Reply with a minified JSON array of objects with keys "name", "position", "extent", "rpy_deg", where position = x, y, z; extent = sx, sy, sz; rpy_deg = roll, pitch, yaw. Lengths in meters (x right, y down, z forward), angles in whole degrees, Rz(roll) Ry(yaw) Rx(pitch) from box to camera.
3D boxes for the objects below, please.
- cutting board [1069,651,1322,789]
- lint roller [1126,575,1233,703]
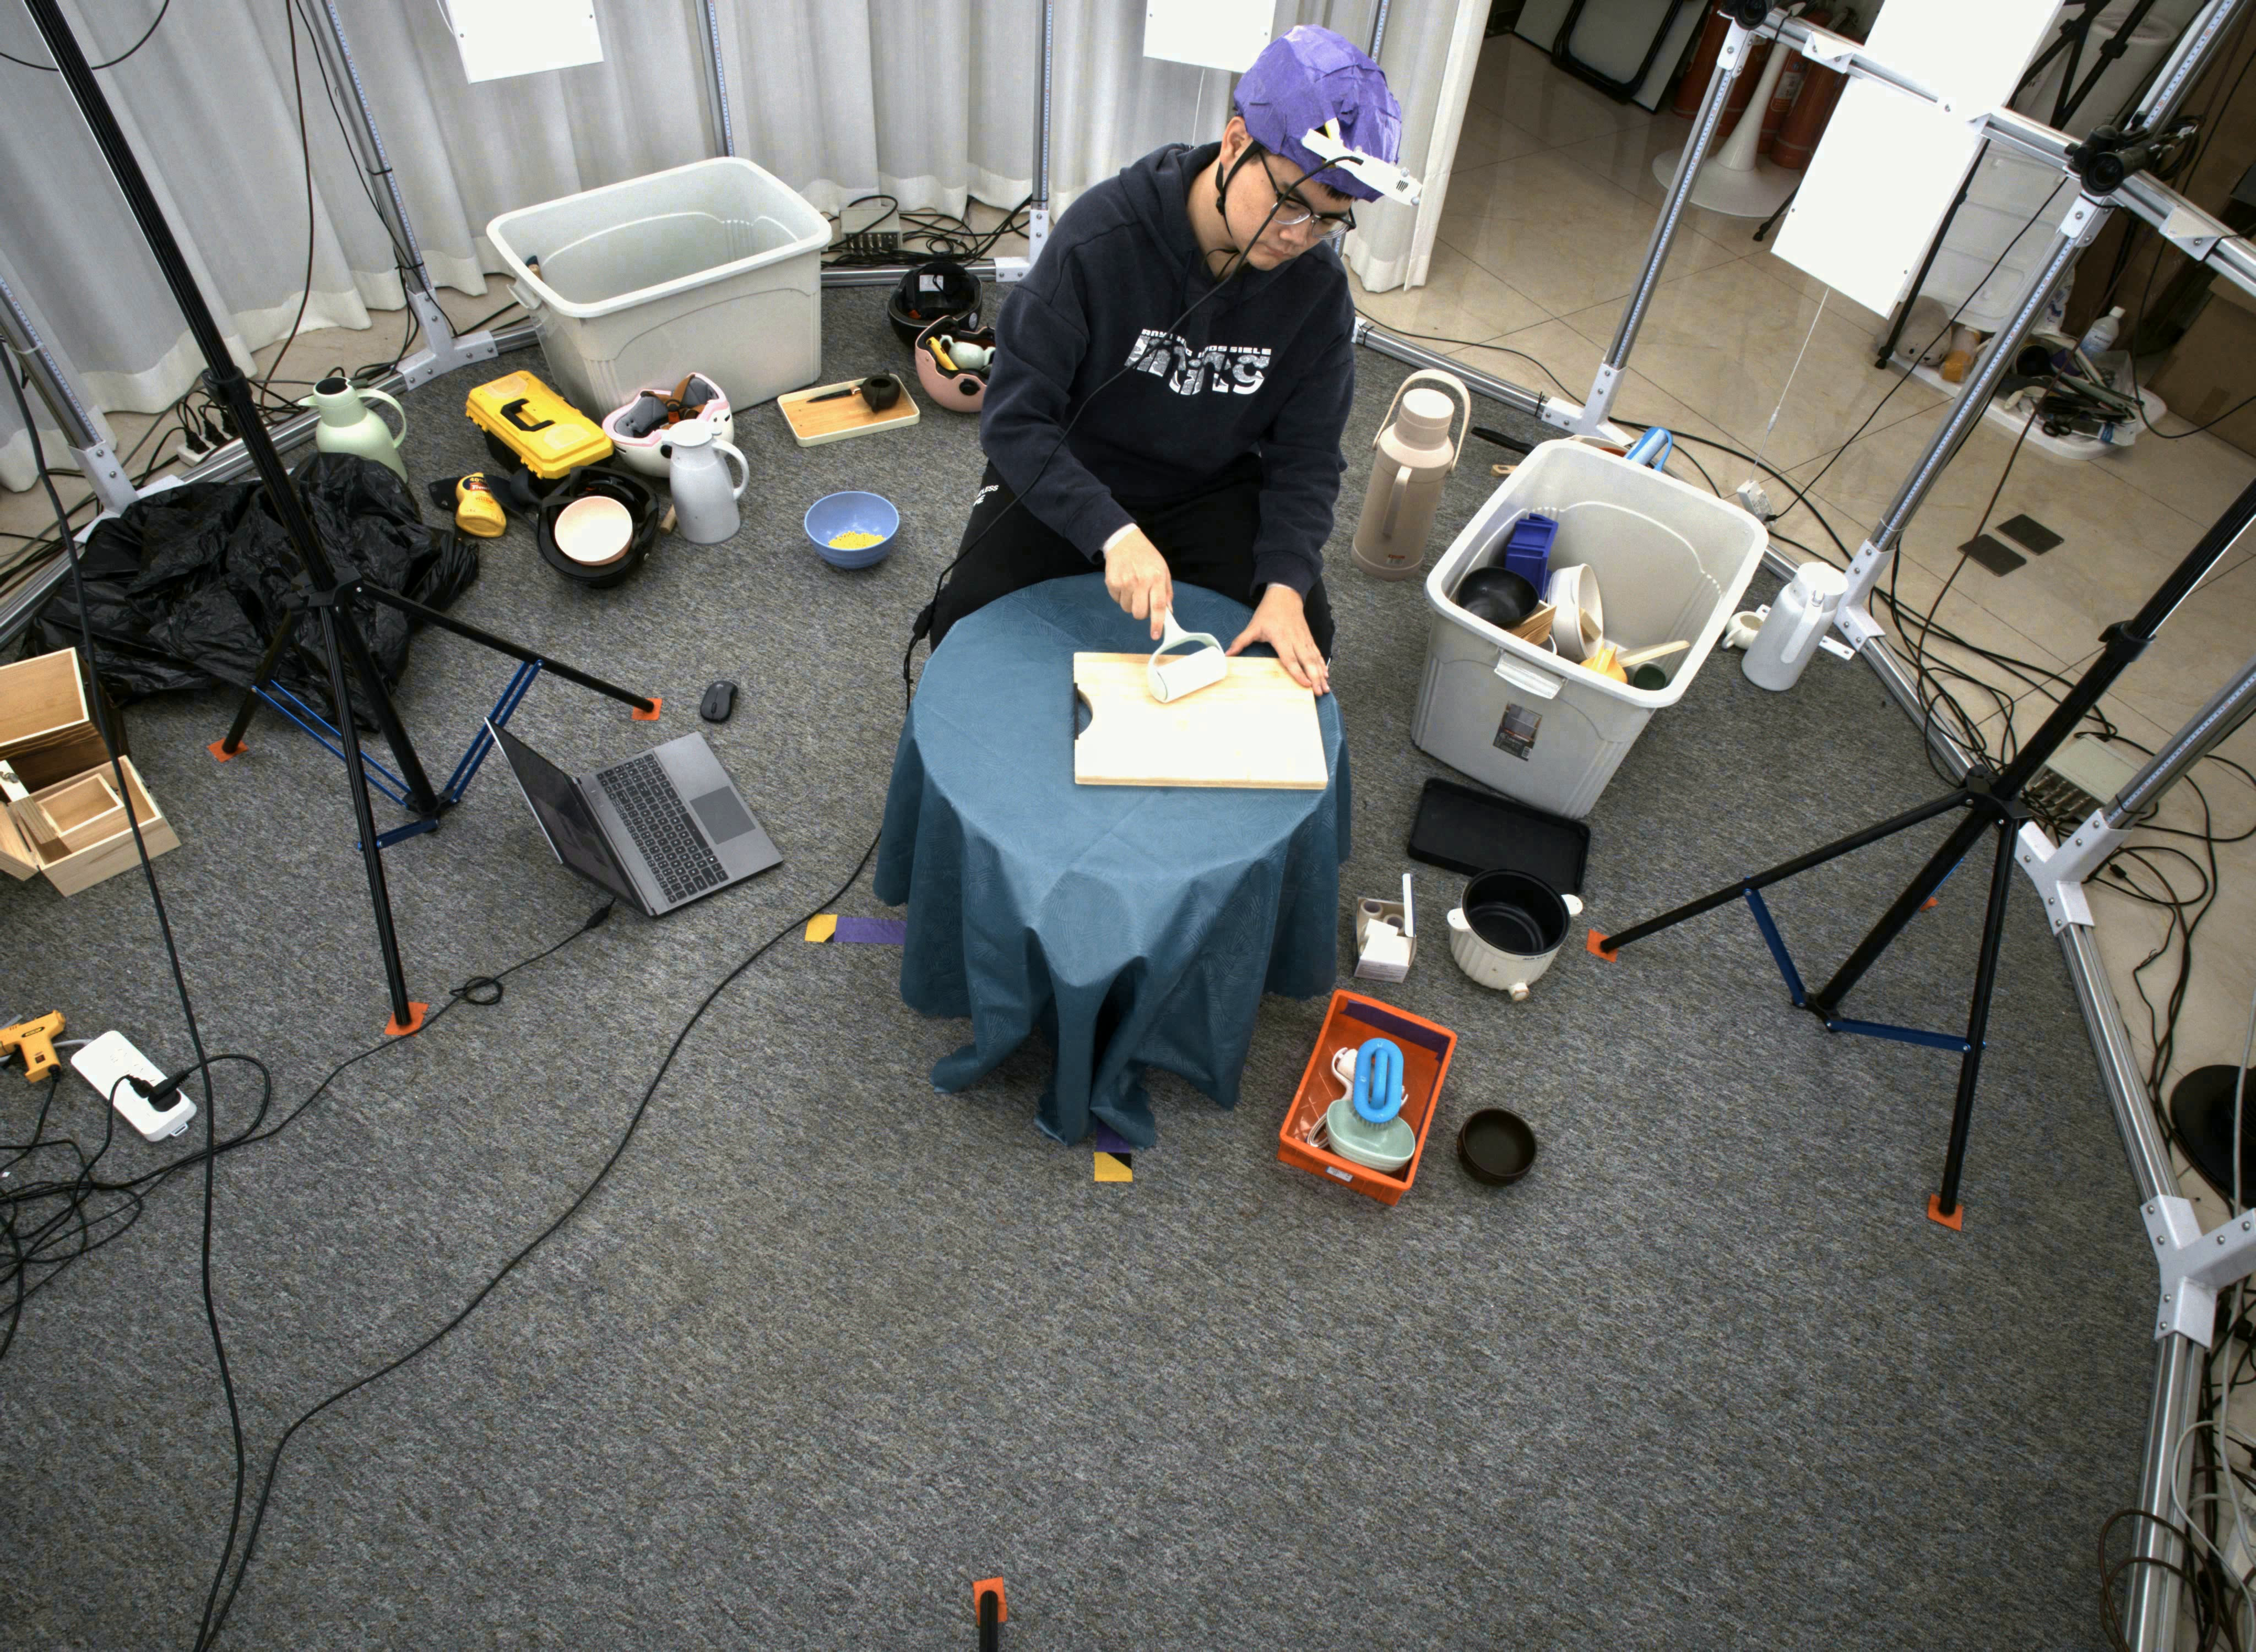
[{"name":"cutting board","position":[0.090,-0.151,1.793],"extent":[0.348,0.023,0.257],"rpy_deg":[1,48,-4]},{"name":"lint roller","position":[0.058,-0.279,1.818],"extent":[0.117,0.048,0.199],"rpy_deg":[-26,80,-22]}]
